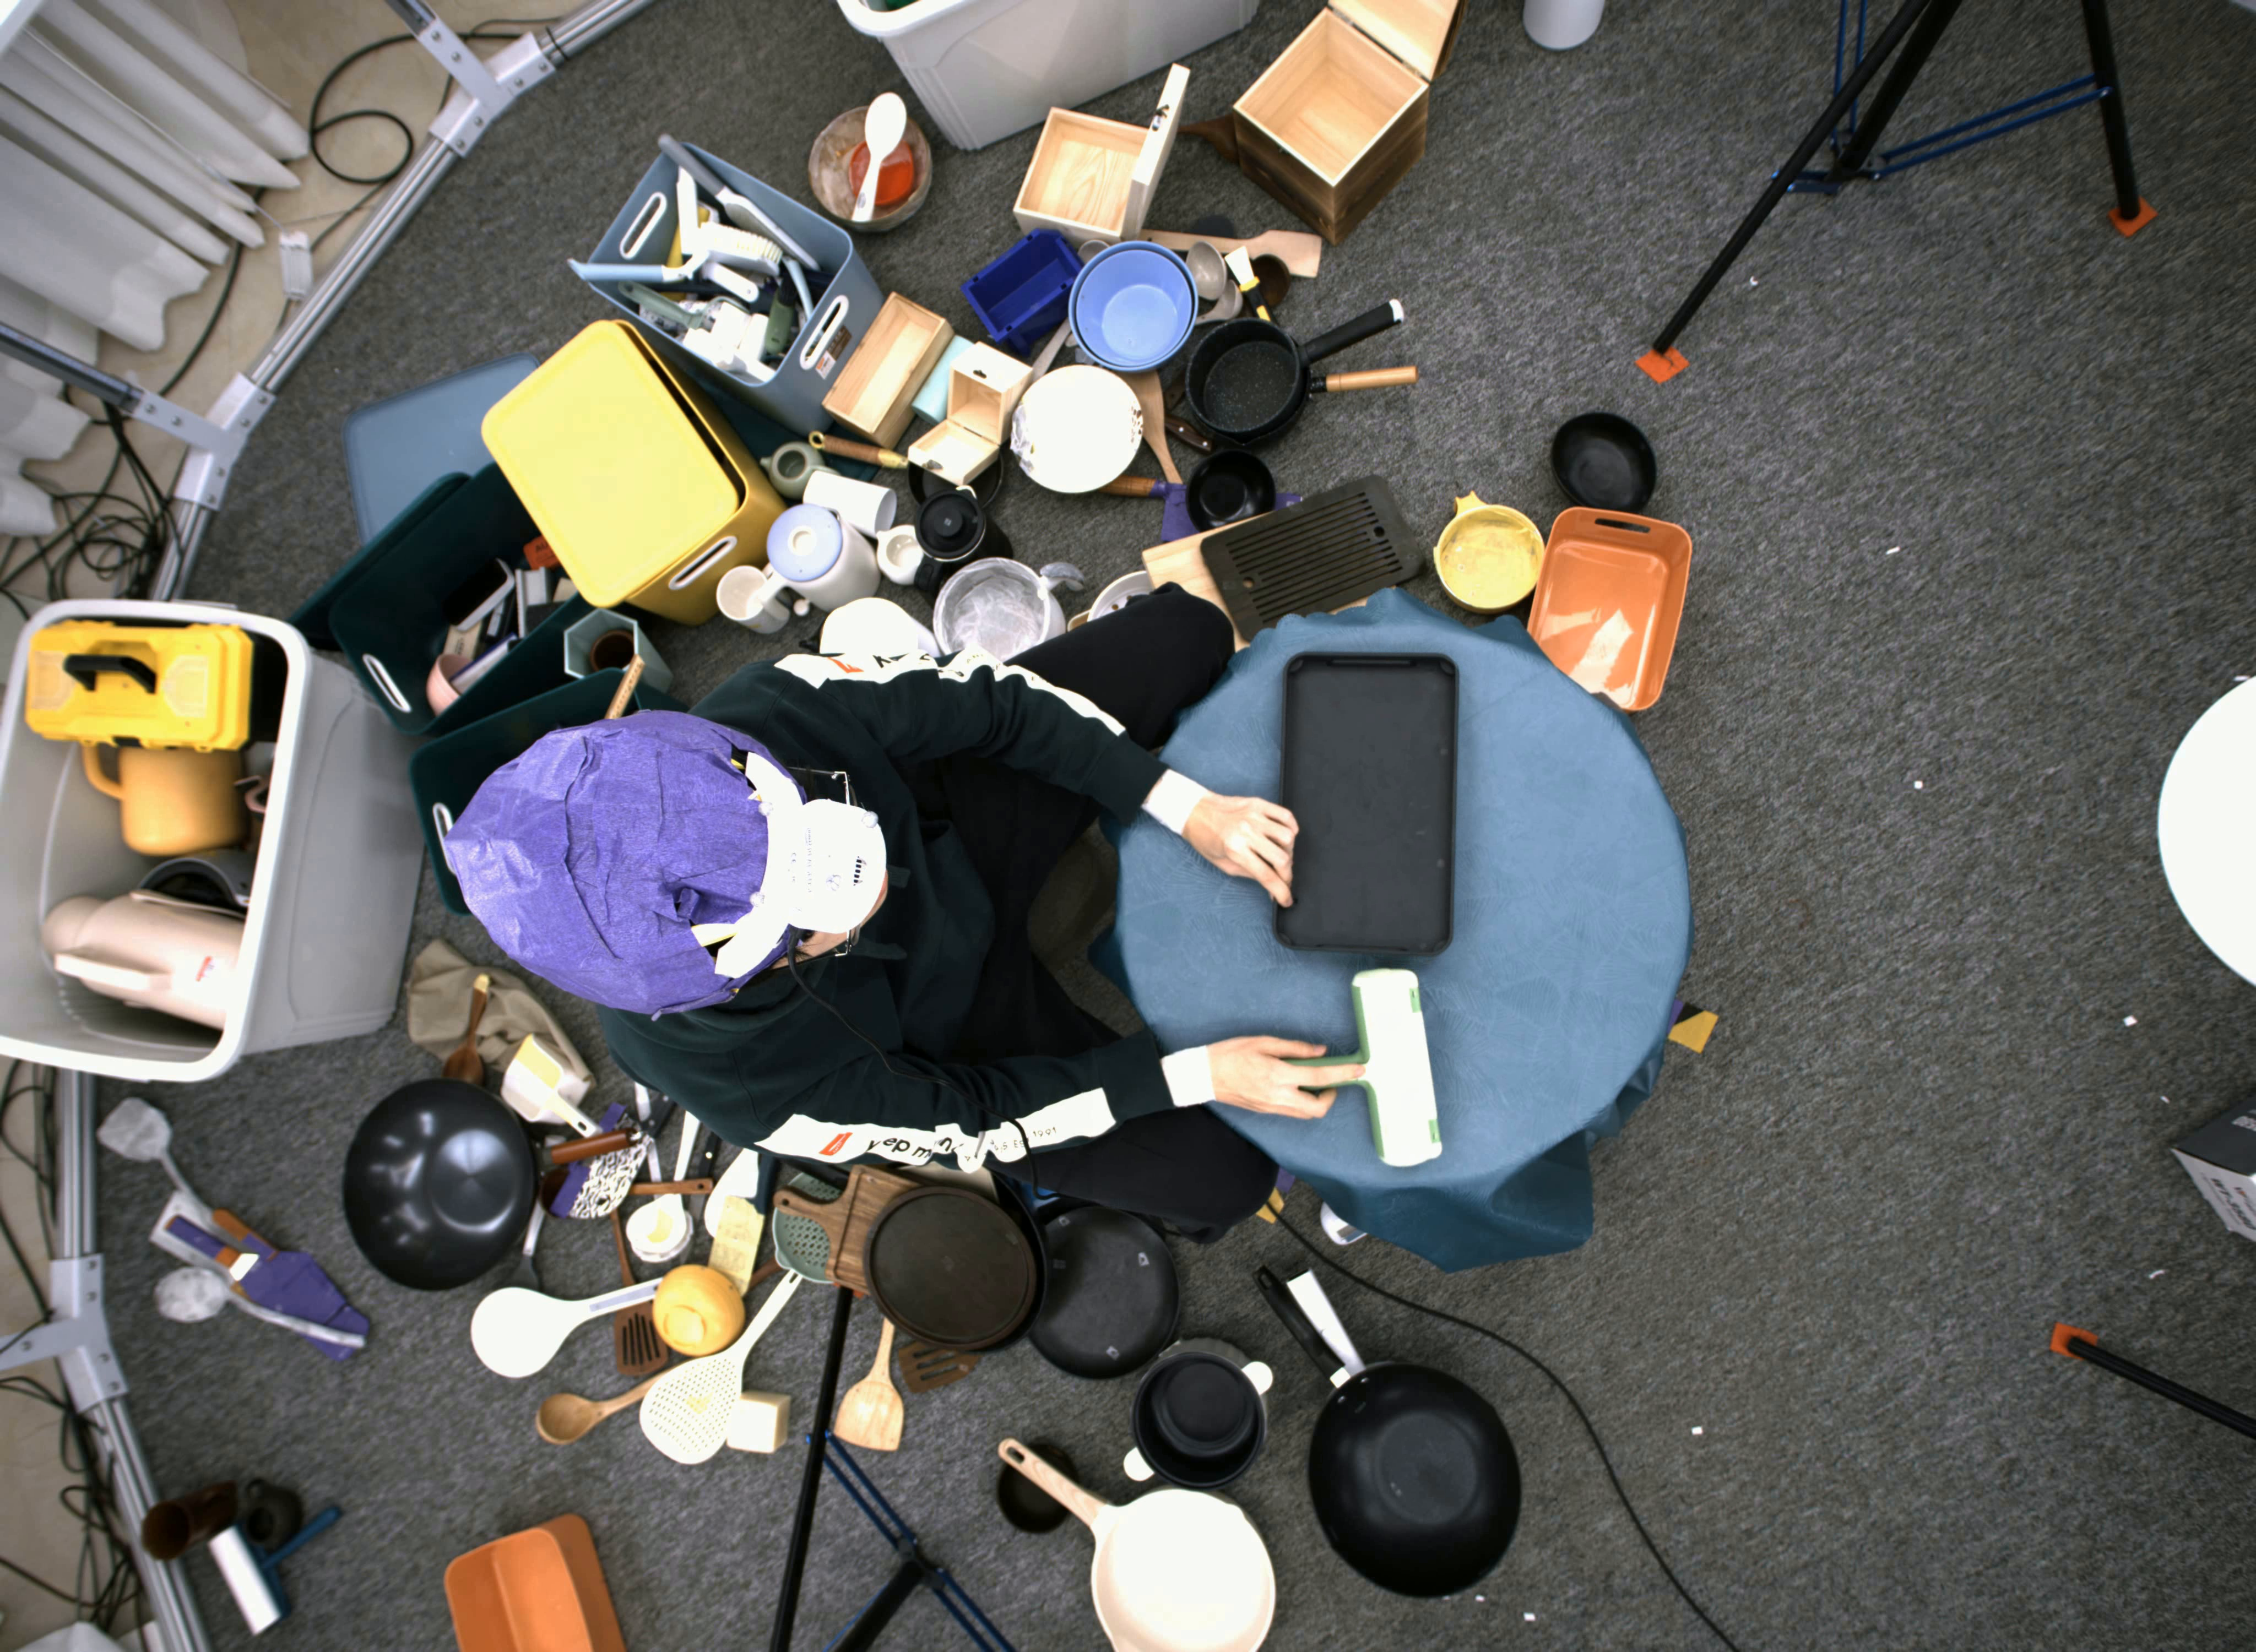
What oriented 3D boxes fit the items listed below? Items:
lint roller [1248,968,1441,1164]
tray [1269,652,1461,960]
[{"bbox_3d":[0.212,0.250,1.401,0.184,0.081,0.200,-9,99,7],"label":"lint roller"},{"bbox_3d":[0.247,-0.023,1.434,0.185,0.037,0.316,3,84,12],"label":"tray"}]
